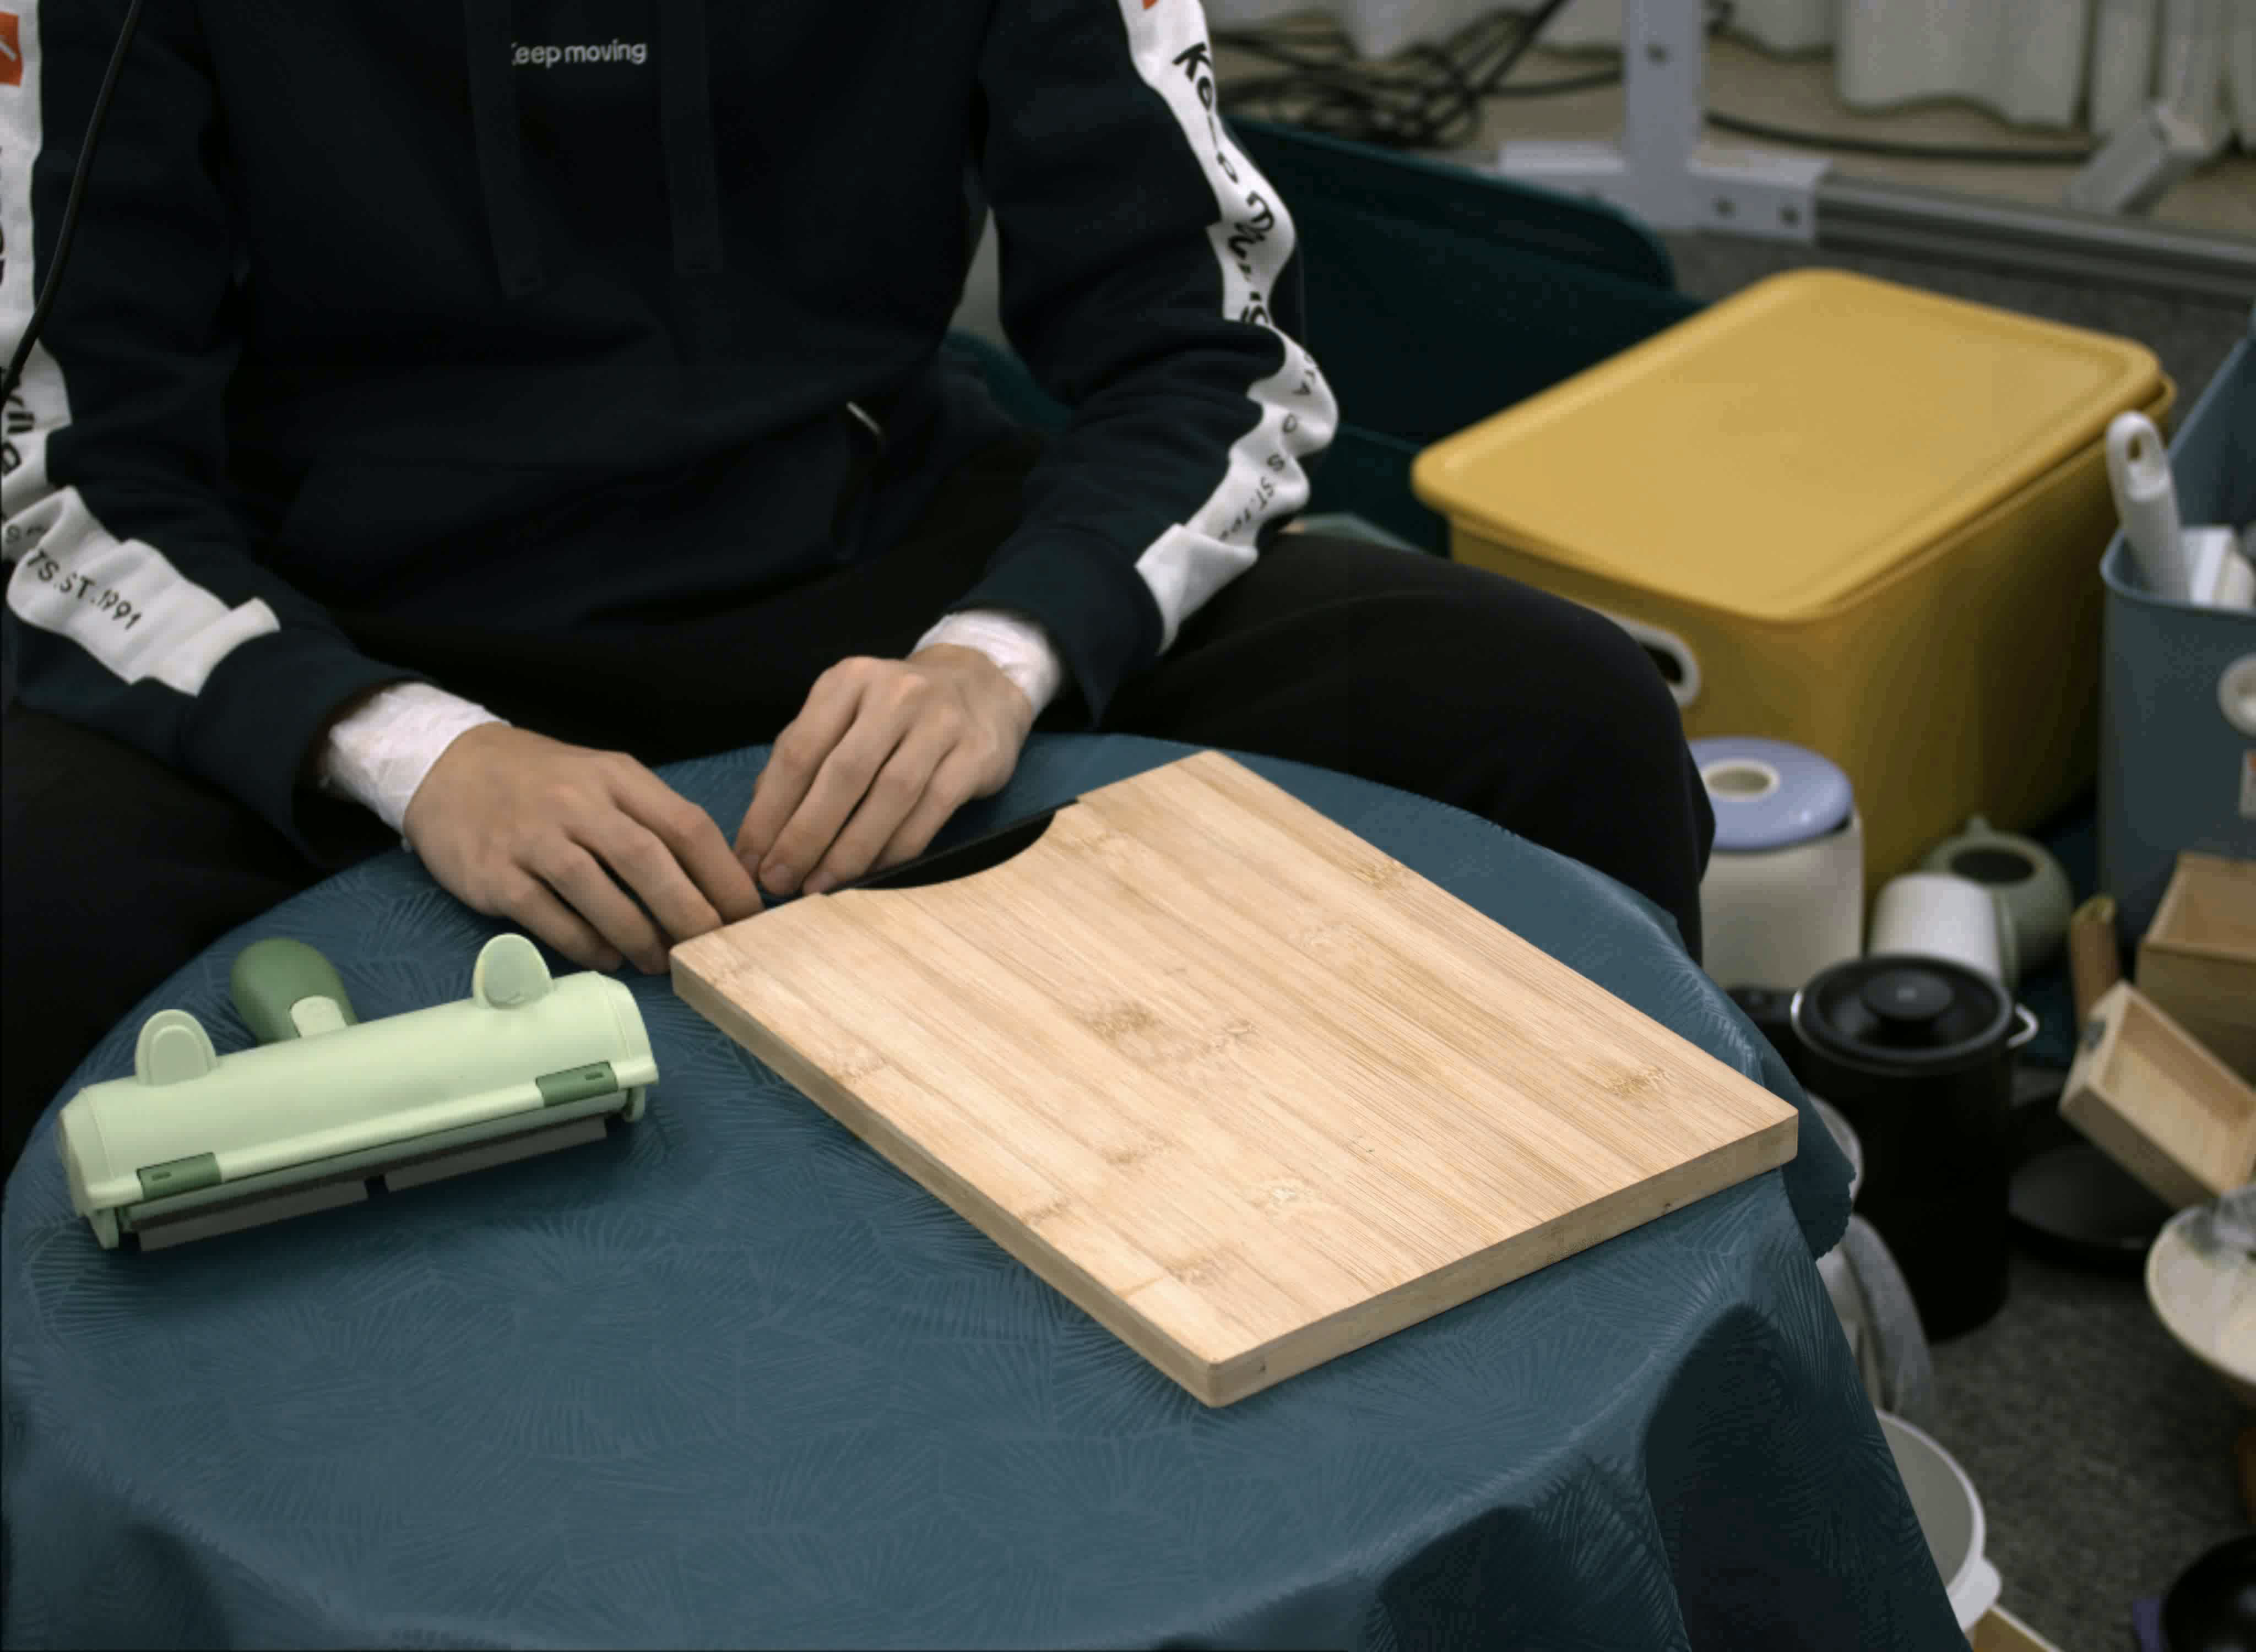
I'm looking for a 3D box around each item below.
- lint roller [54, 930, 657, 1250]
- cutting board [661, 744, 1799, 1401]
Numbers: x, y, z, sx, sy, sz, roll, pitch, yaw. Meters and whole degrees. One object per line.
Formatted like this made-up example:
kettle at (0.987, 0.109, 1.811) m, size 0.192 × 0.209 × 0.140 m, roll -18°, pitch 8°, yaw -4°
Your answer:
lint roller at (-0.278, 0.063, 1.918) m, size 0.199 × 0.081 × 0.185 m, roll -13°, pitch 33°, yaw -18°
cutting board at (0.027, 0.076, 1.928) m, size 0.253 × 0.023 × 0.349 m, roll -20°, pitch 32°, yaw -30°
